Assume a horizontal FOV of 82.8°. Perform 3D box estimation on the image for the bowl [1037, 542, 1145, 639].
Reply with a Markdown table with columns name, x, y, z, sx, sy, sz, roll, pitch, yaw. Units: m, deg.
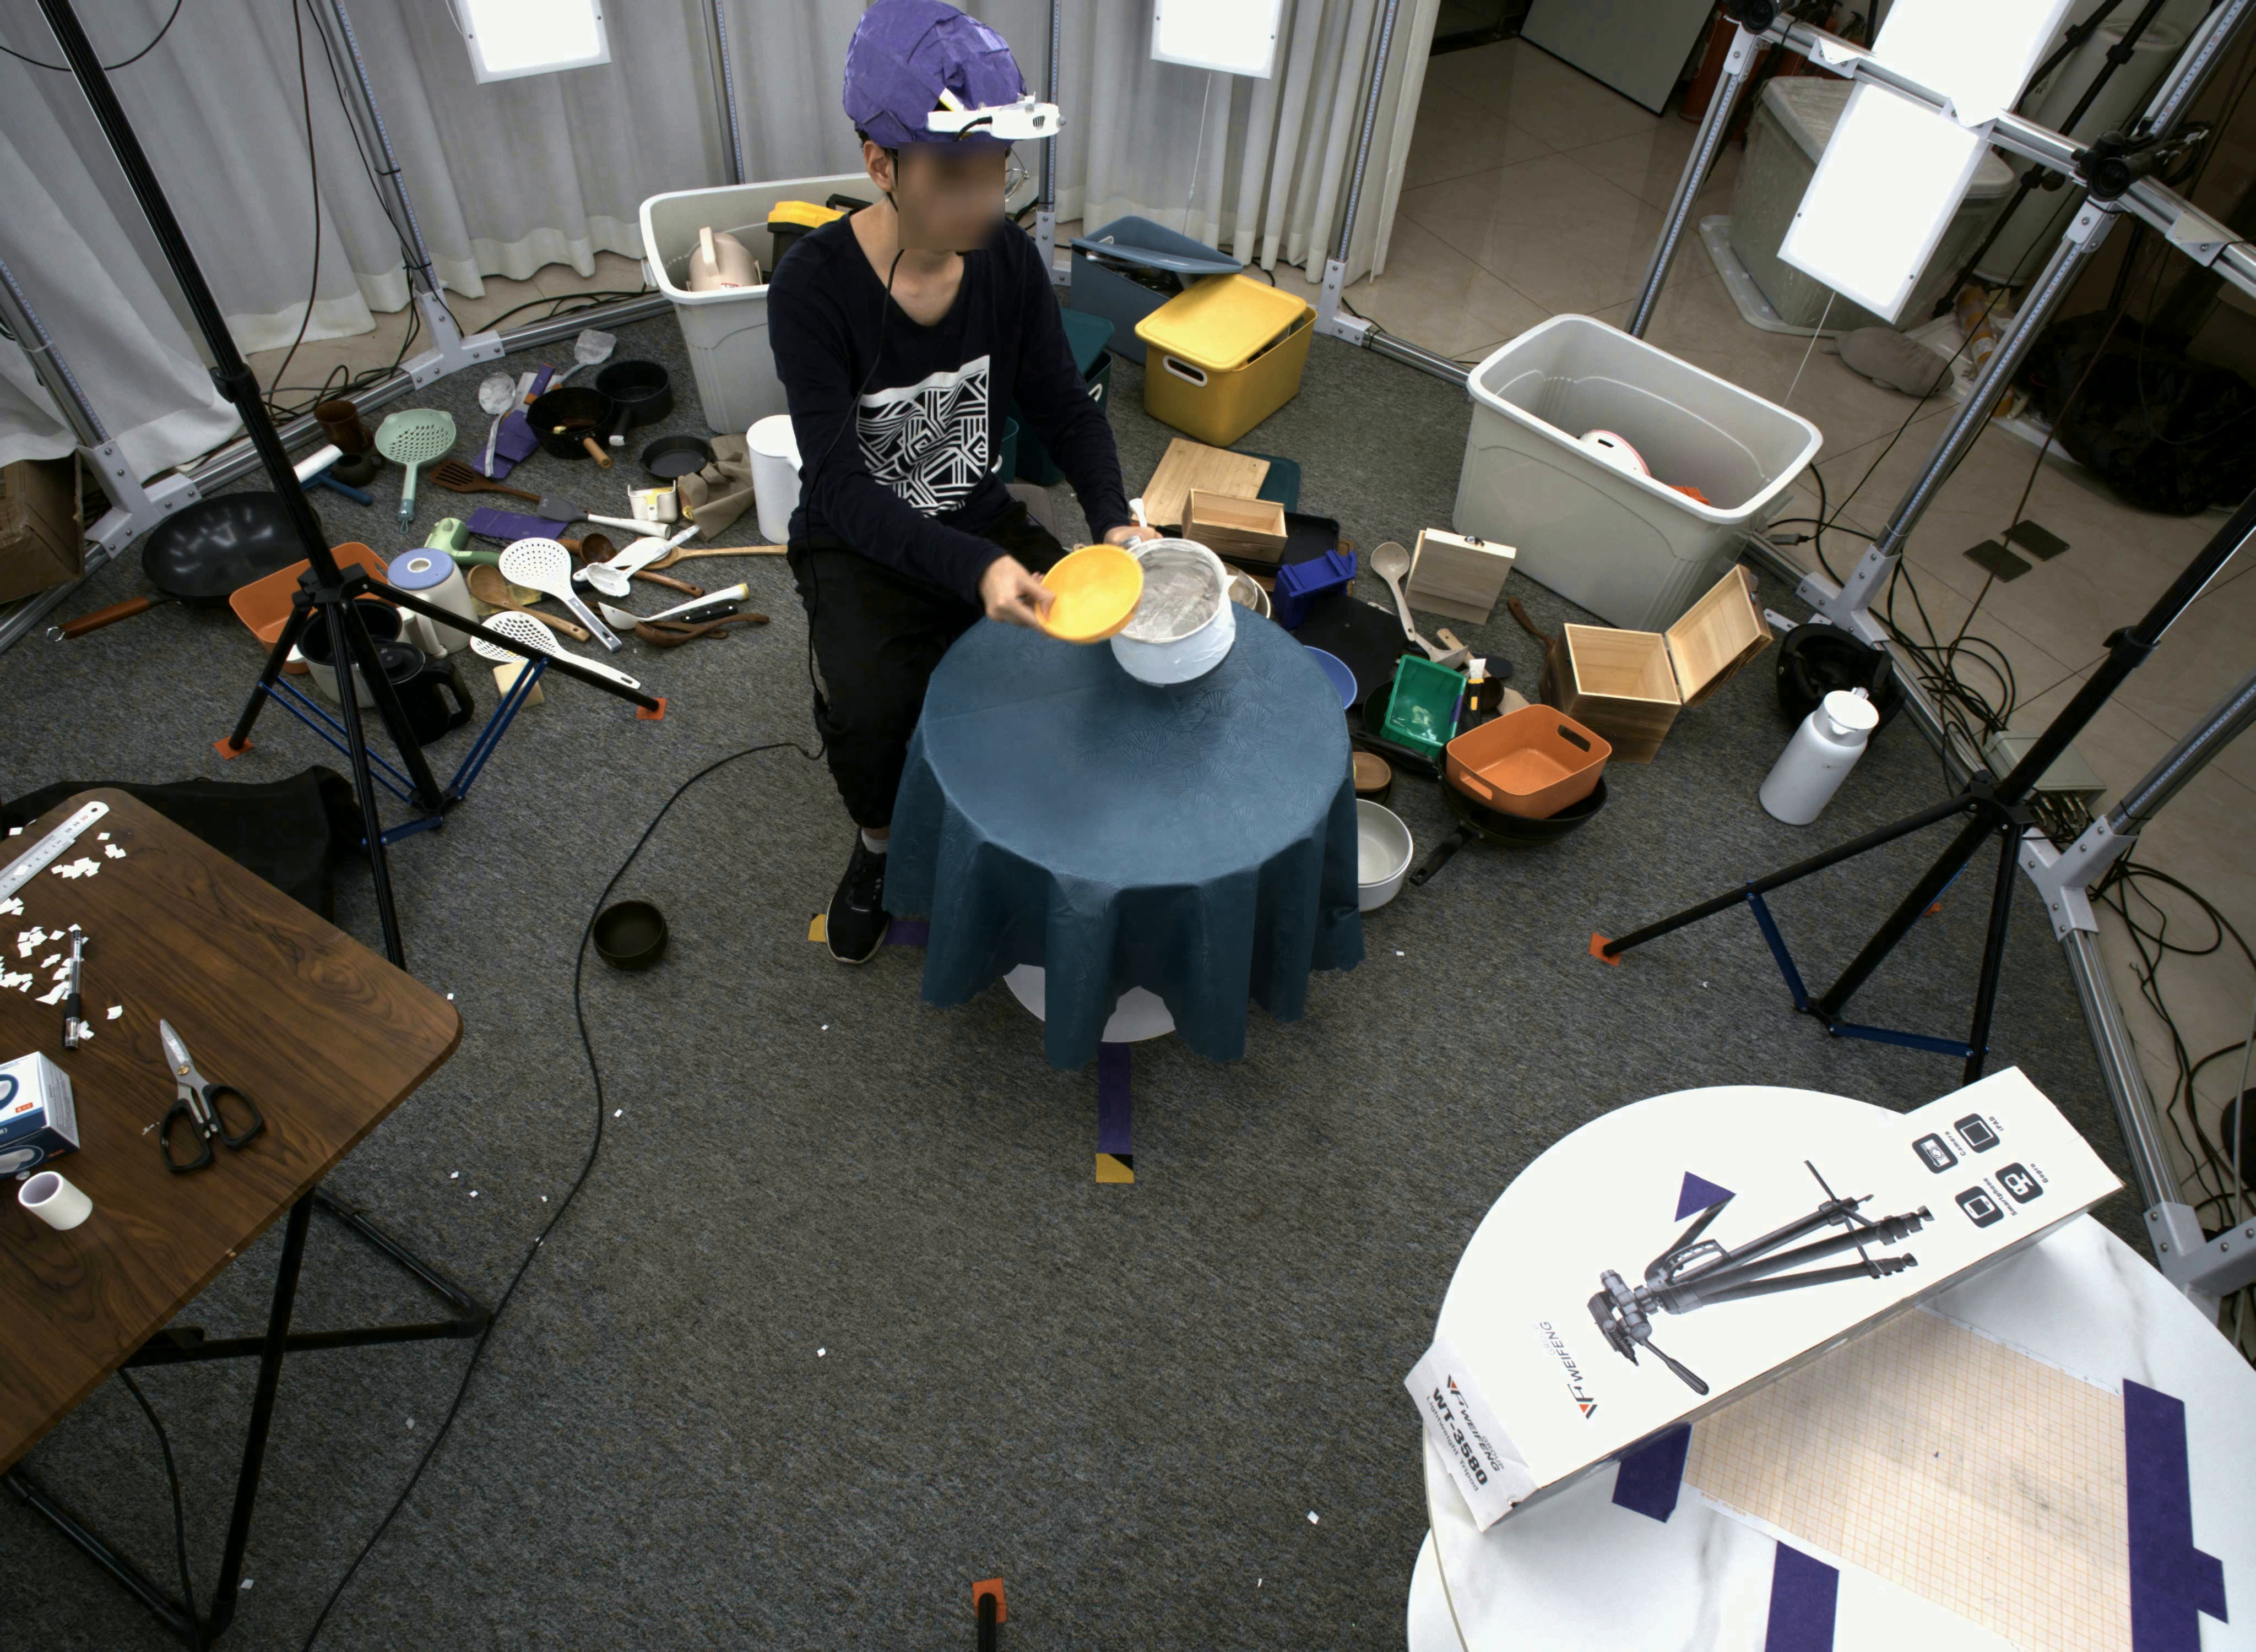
| name | x | y | z | sx | sy | sz | roll | pitch | yaw |
| --- | --- | --- | --- | --- | --- | --- | --- | --- | --- |
| bowl | -0.040 | -0.292 | 1.656 | 0.145 | 0.059 | 0.148 | -9 | 56 | 14 |

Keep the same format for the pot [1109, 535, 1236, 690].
| name | x | y | z | sx | sy | sz | roll | pitch | yaw |
| --- | --- | --- | --- | --- | --- | --- | --- | --- | --- |
| pot | 0.046 | -0.310 | 1.797 | 0.179 | 0.133 | 0.239 | -26 | 57 | -3 |
